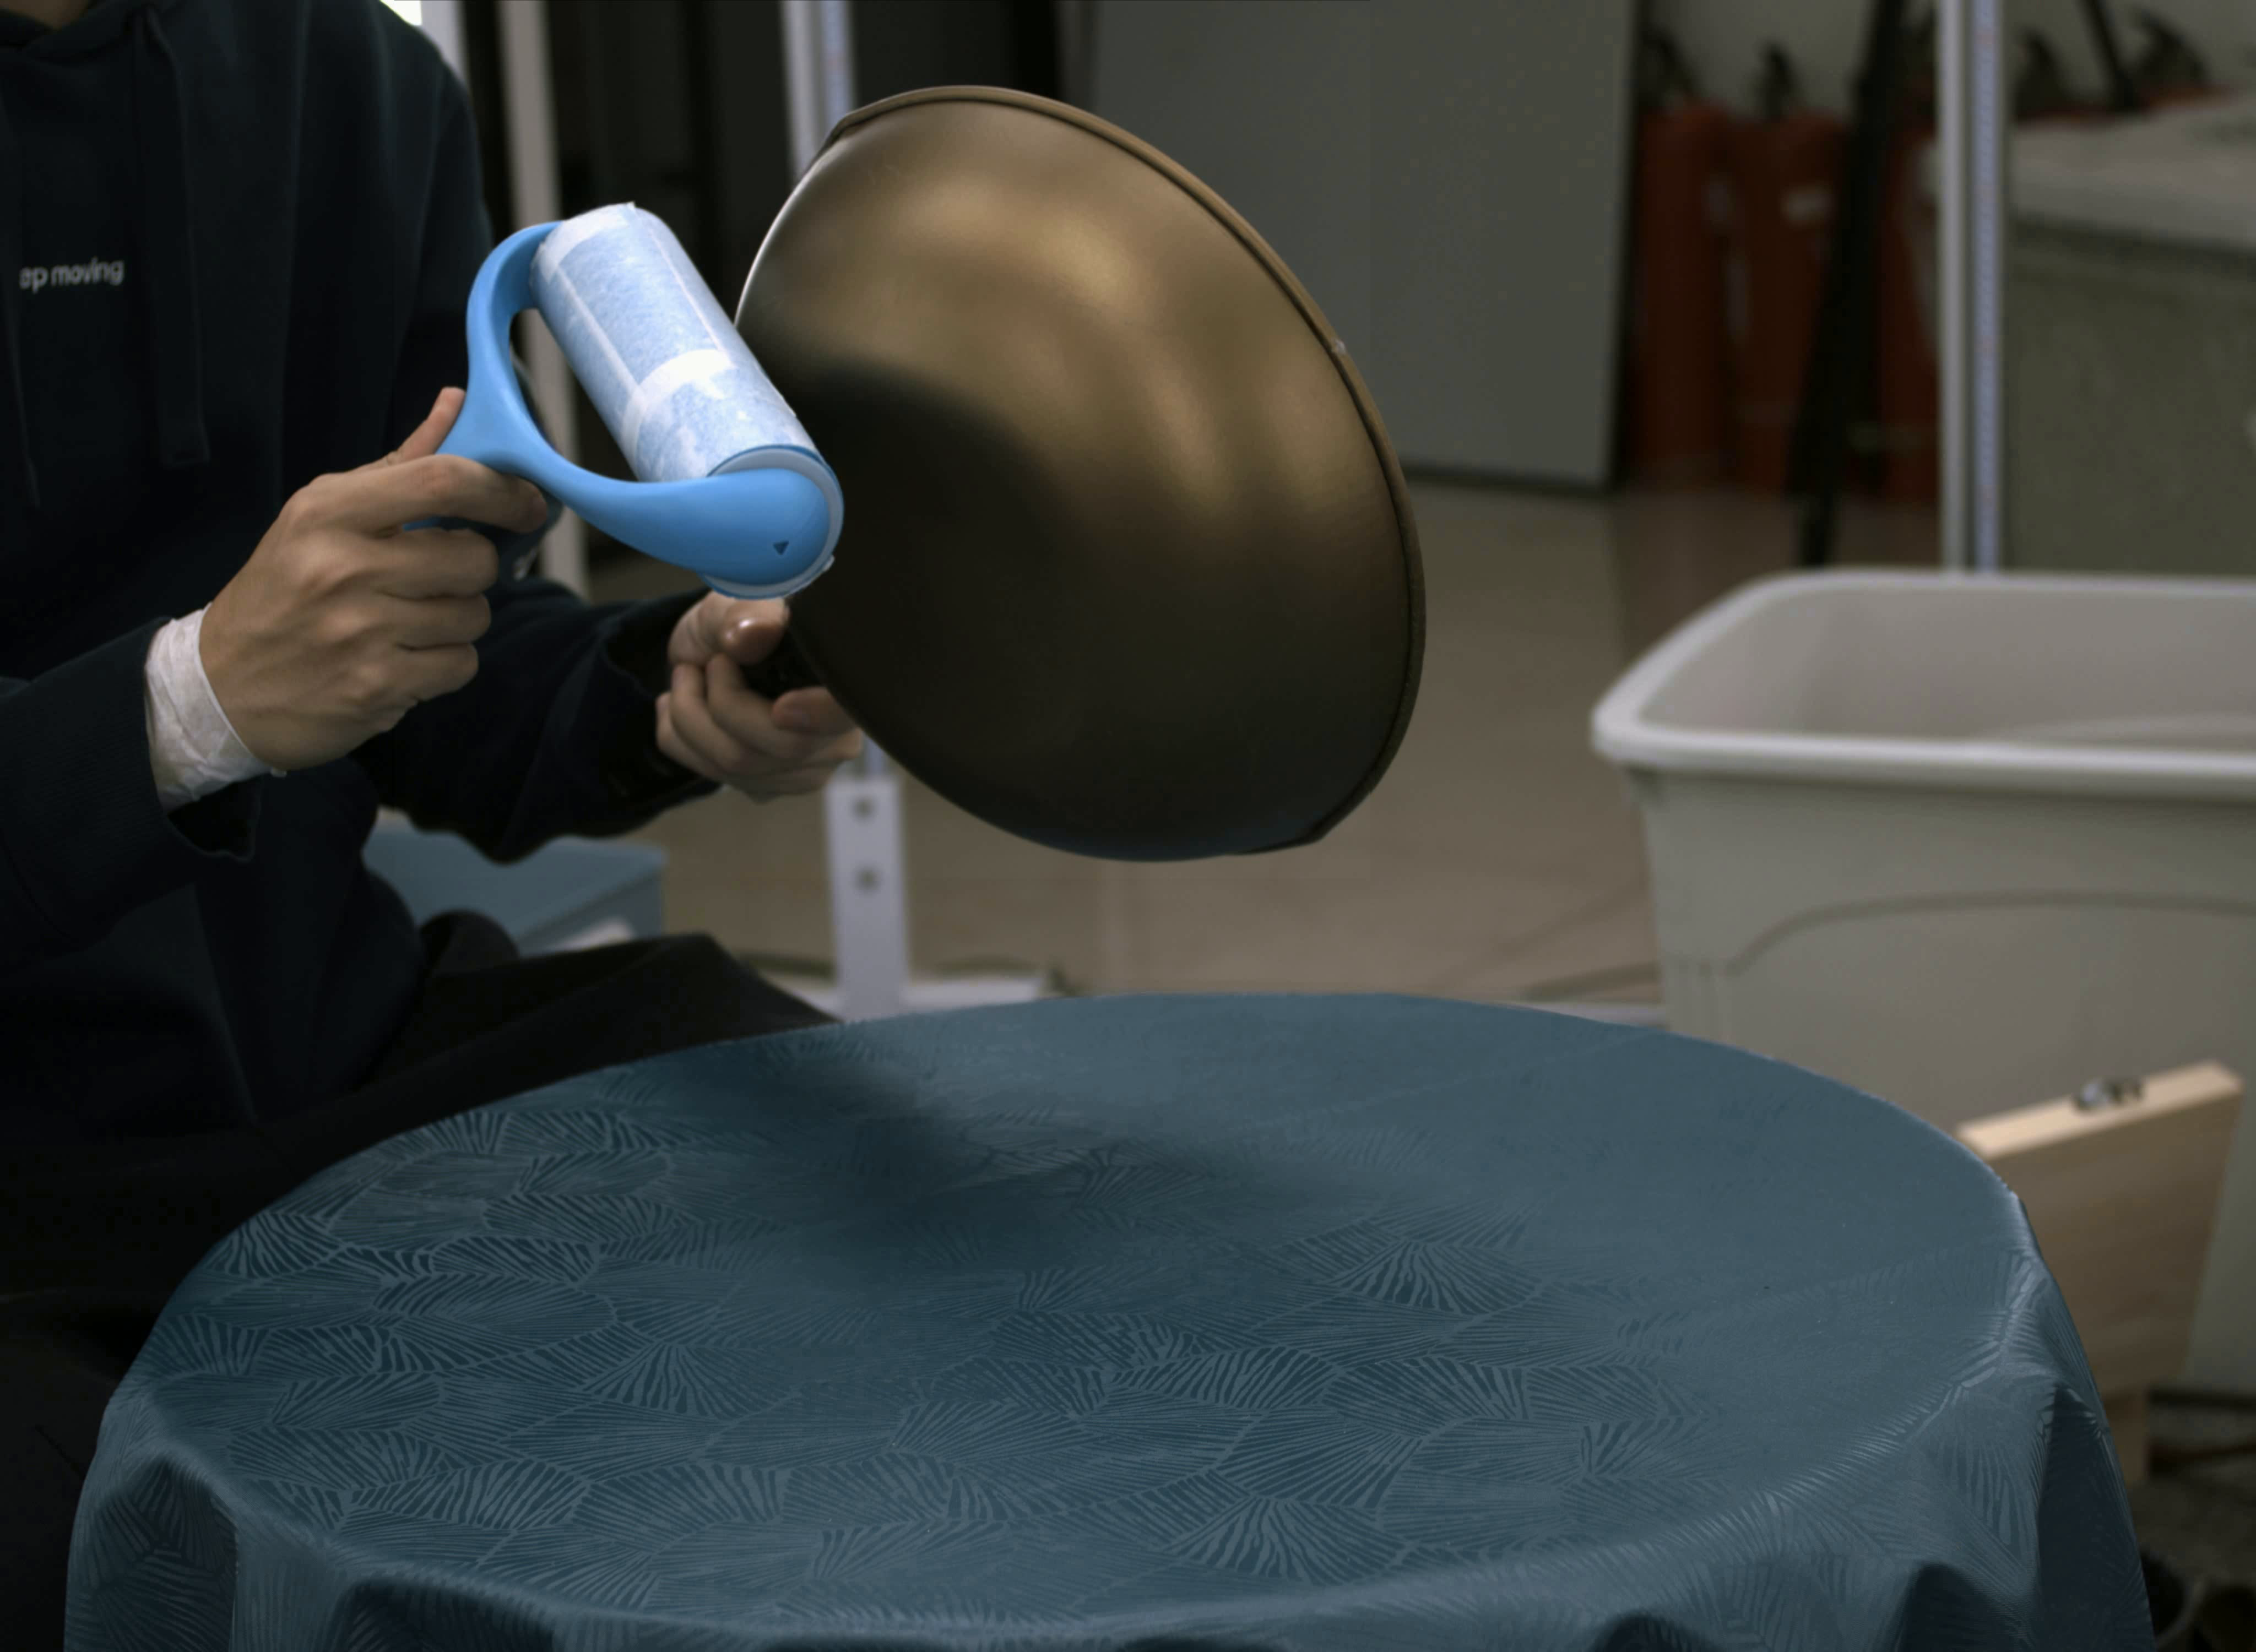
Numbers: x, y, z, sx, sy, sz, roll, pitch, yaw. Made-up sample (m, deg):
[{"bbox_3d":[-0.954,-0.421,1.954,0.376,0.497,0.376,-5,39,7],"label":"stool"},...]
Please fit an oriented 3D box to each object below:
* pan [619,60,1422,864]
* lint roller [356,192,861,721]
[{"bbox_3d":[-0.087,-0.070,1.832,0.085,0.289,0.468,-34,1,-39],"label":"pan"},{"bbox_3d":[-0.188,-0.109,1.745,0.179,0.067,0.231,-38,36,-2],"label":"lint roller"}]
